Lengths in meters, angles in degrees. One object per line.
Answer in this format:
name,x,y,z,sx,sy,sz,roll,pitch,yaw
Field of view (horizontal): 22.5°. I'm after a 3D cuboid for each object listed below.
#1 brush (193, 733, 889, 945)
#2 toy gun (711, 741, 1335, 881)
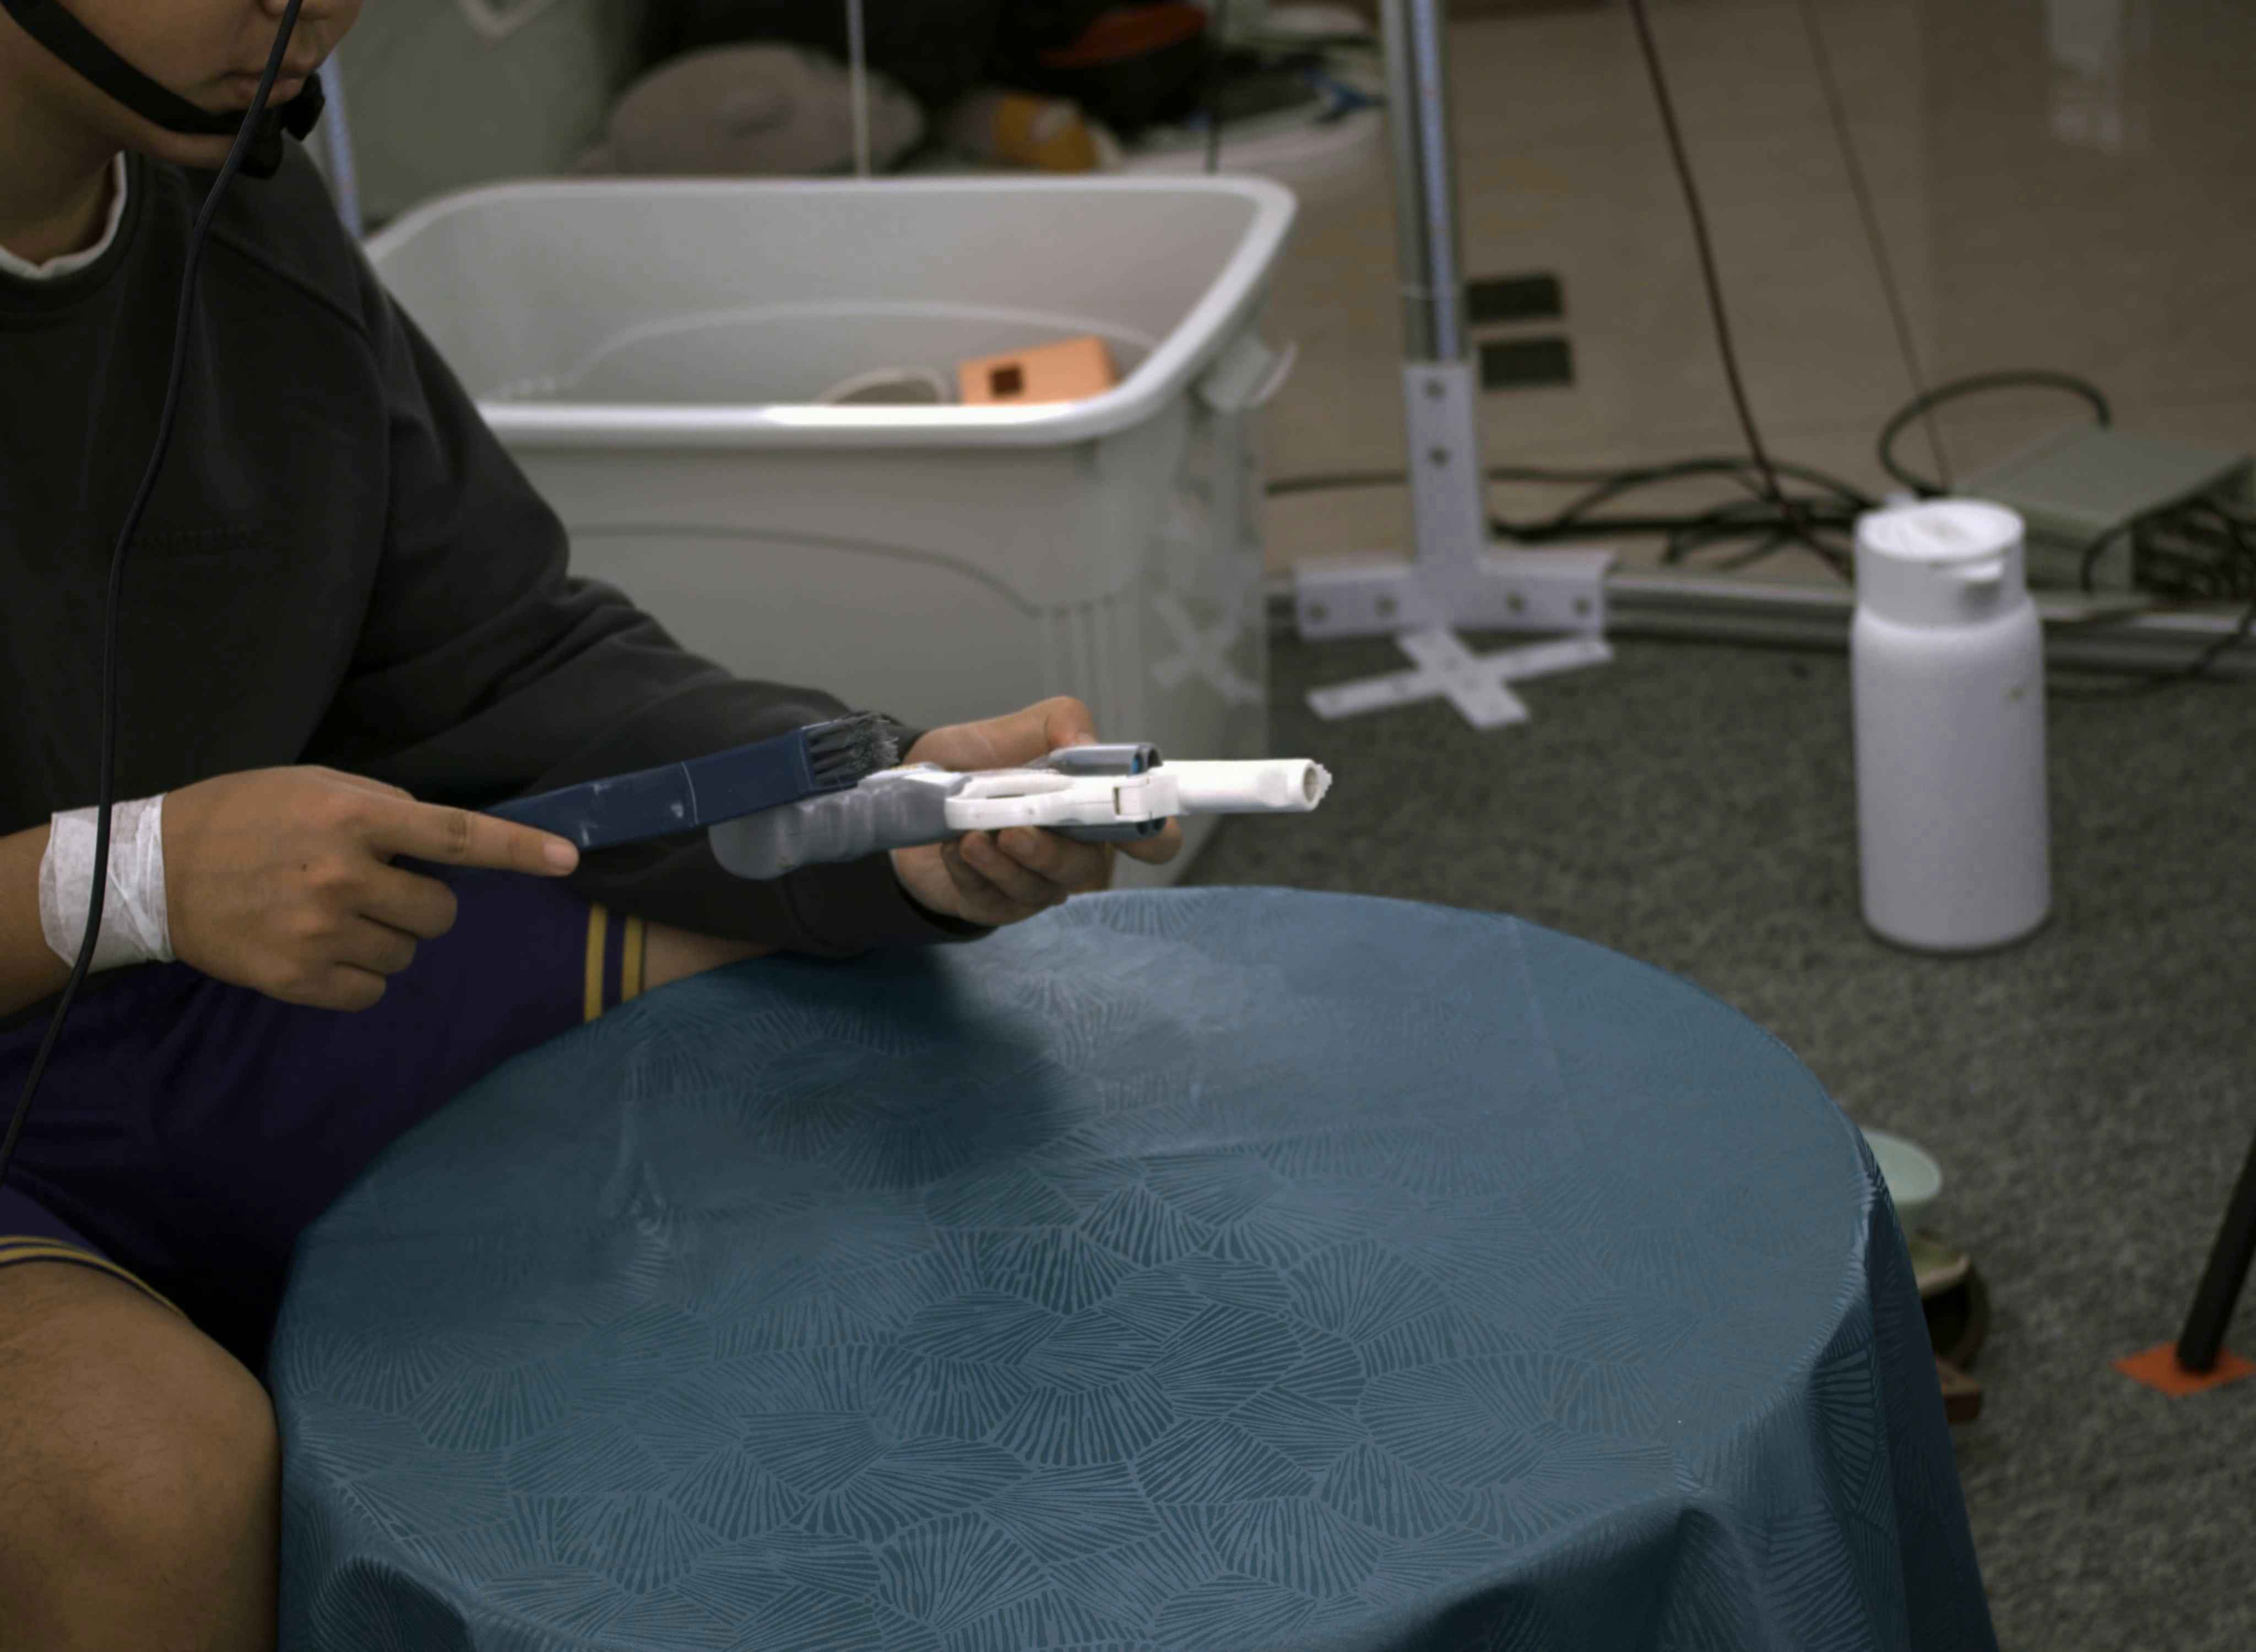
brush,-0.223,0.000,2.109,0.273,0.033,0.095,-13,0,6
toy gun,-0.041,-0.009,2.174,0.209,0.039,0.141,-3,6,27
